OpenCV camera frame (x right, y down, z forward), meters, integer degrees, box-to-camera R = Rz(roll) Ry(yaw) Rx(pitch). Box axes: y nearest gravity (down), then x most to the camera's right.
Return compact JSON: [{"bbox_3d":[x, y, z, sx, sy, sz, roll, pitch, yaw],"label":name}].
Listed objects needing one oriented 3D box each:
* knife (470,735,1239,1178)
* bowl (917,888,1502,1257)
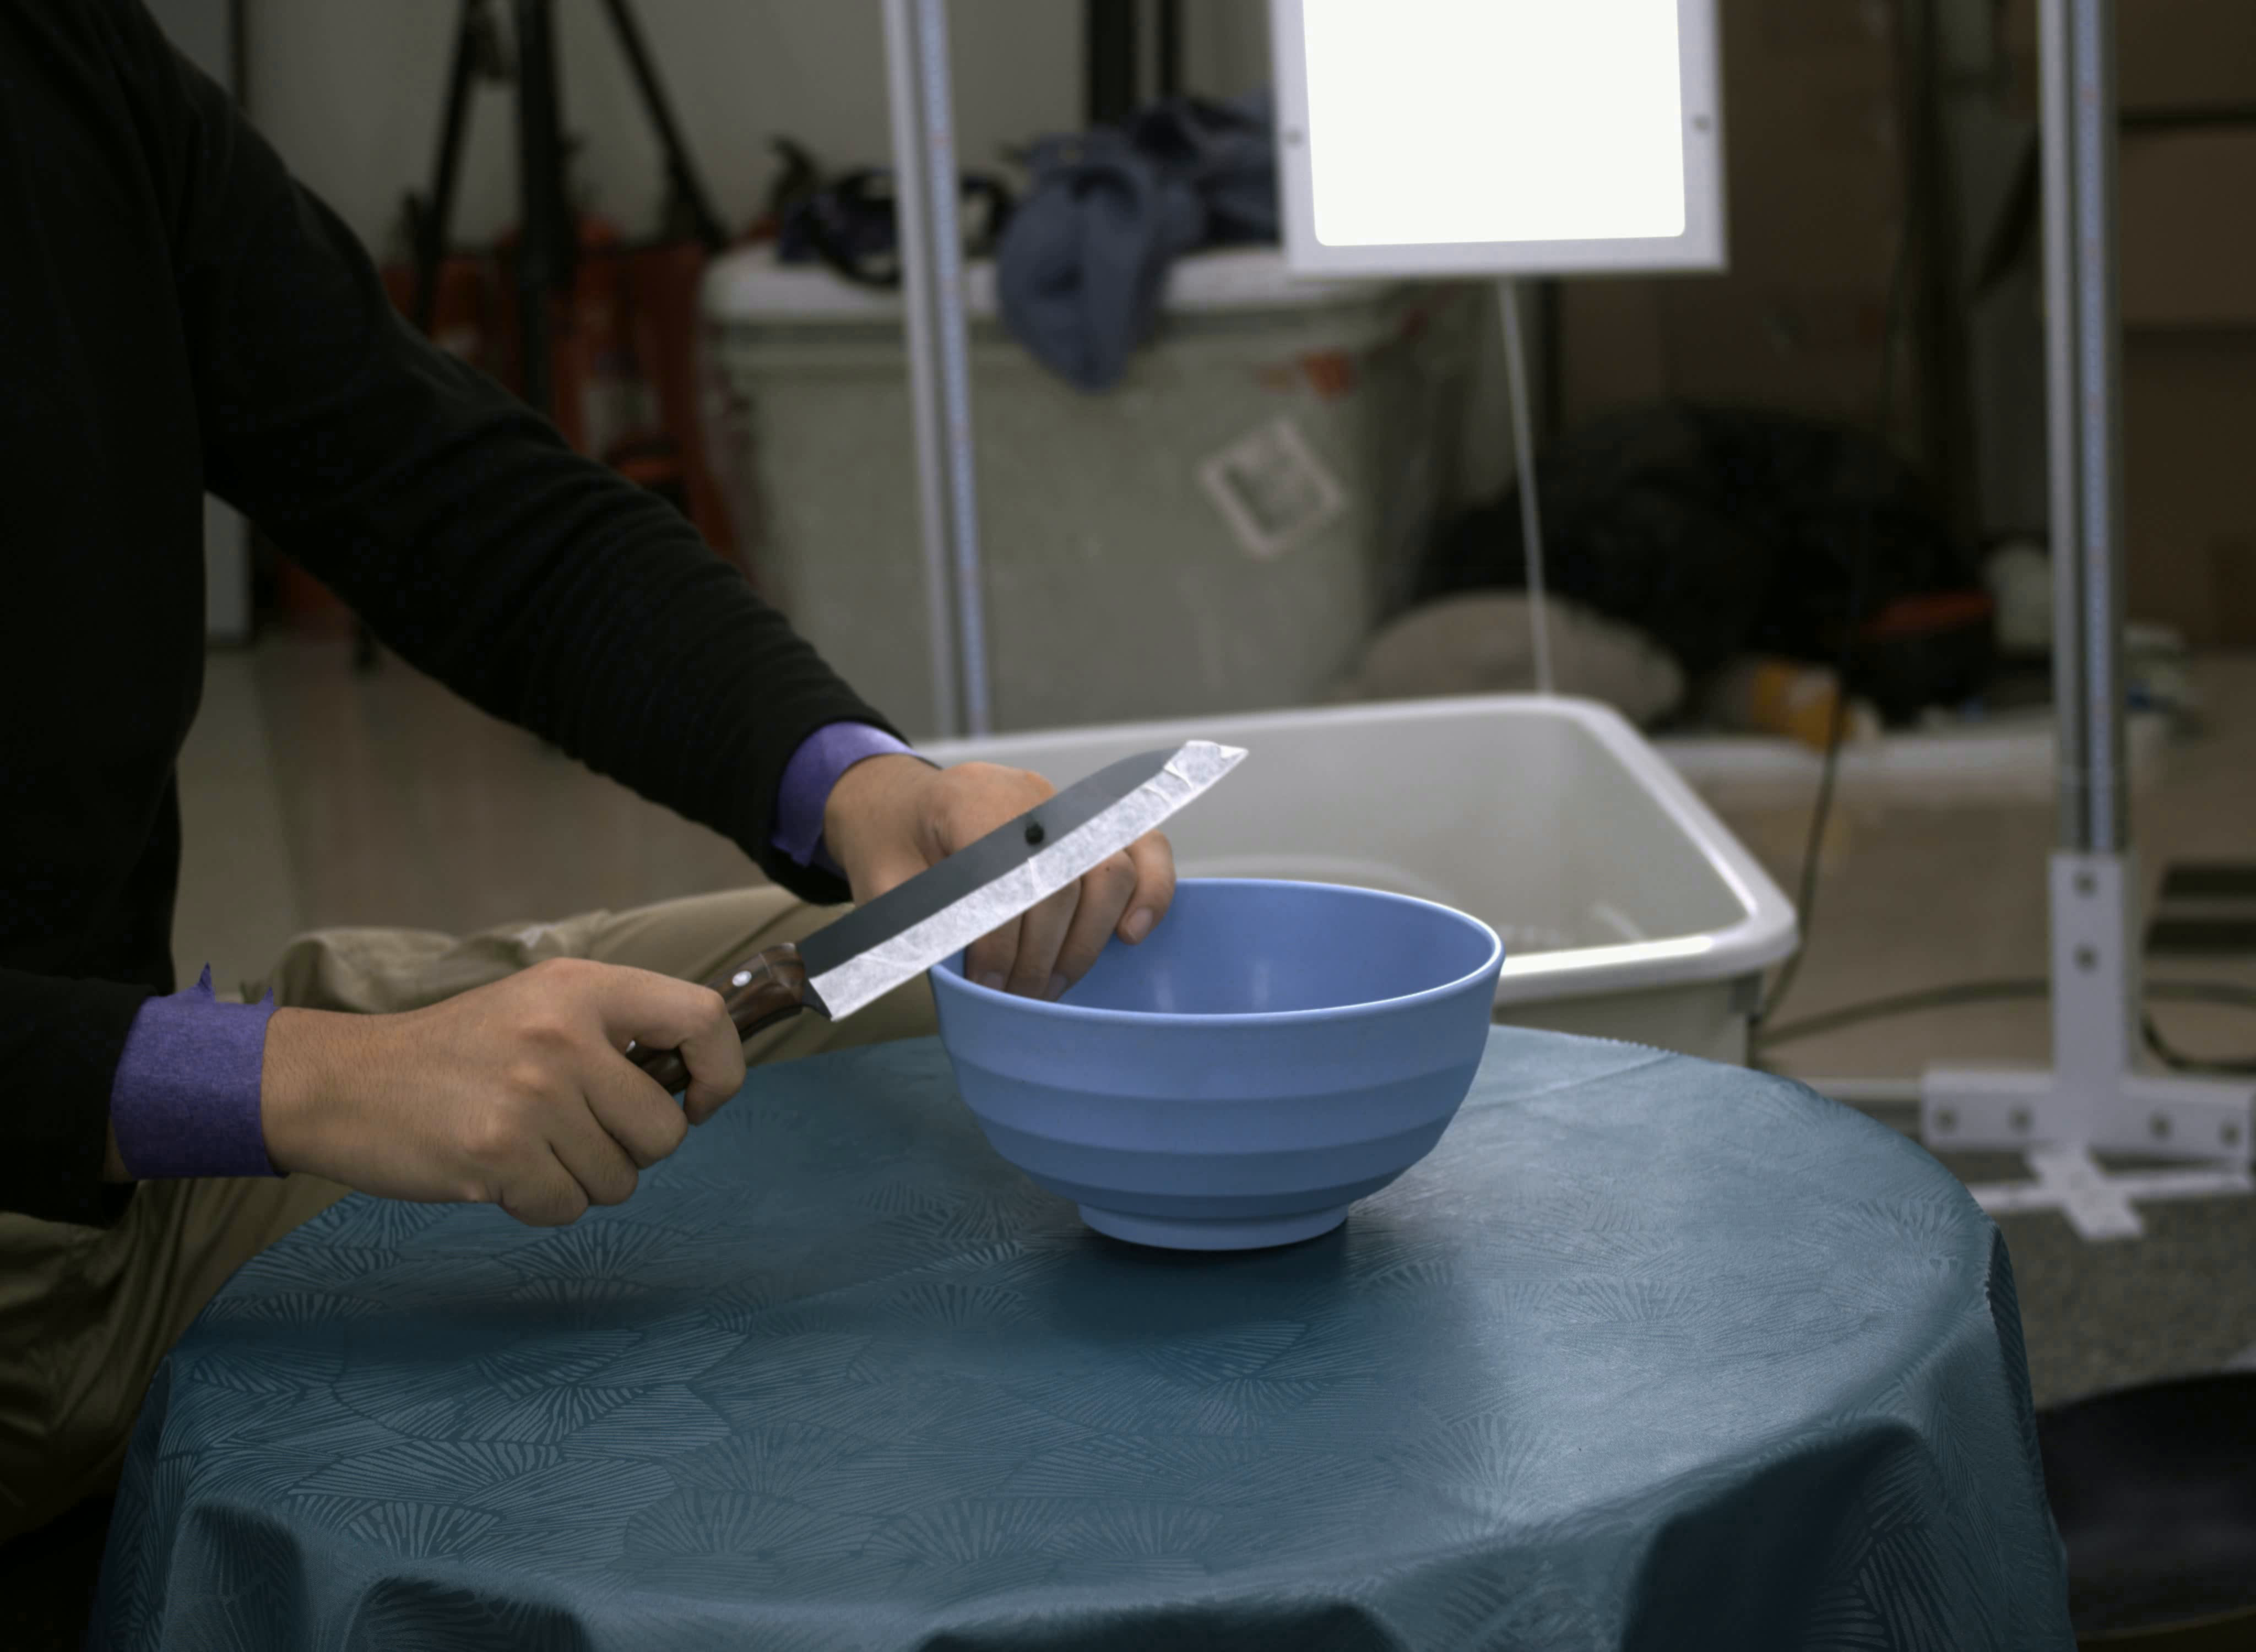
[{"bbox_3d":[-0.089,0.040,1.834,0.287,0.020,0.051,-29,42,-4],"label":"knife"},{"bbox_3d":[0.029,0.087,1.848,0.196,0.096,0.196,-3,12,-1],"label":"bowl"}]
